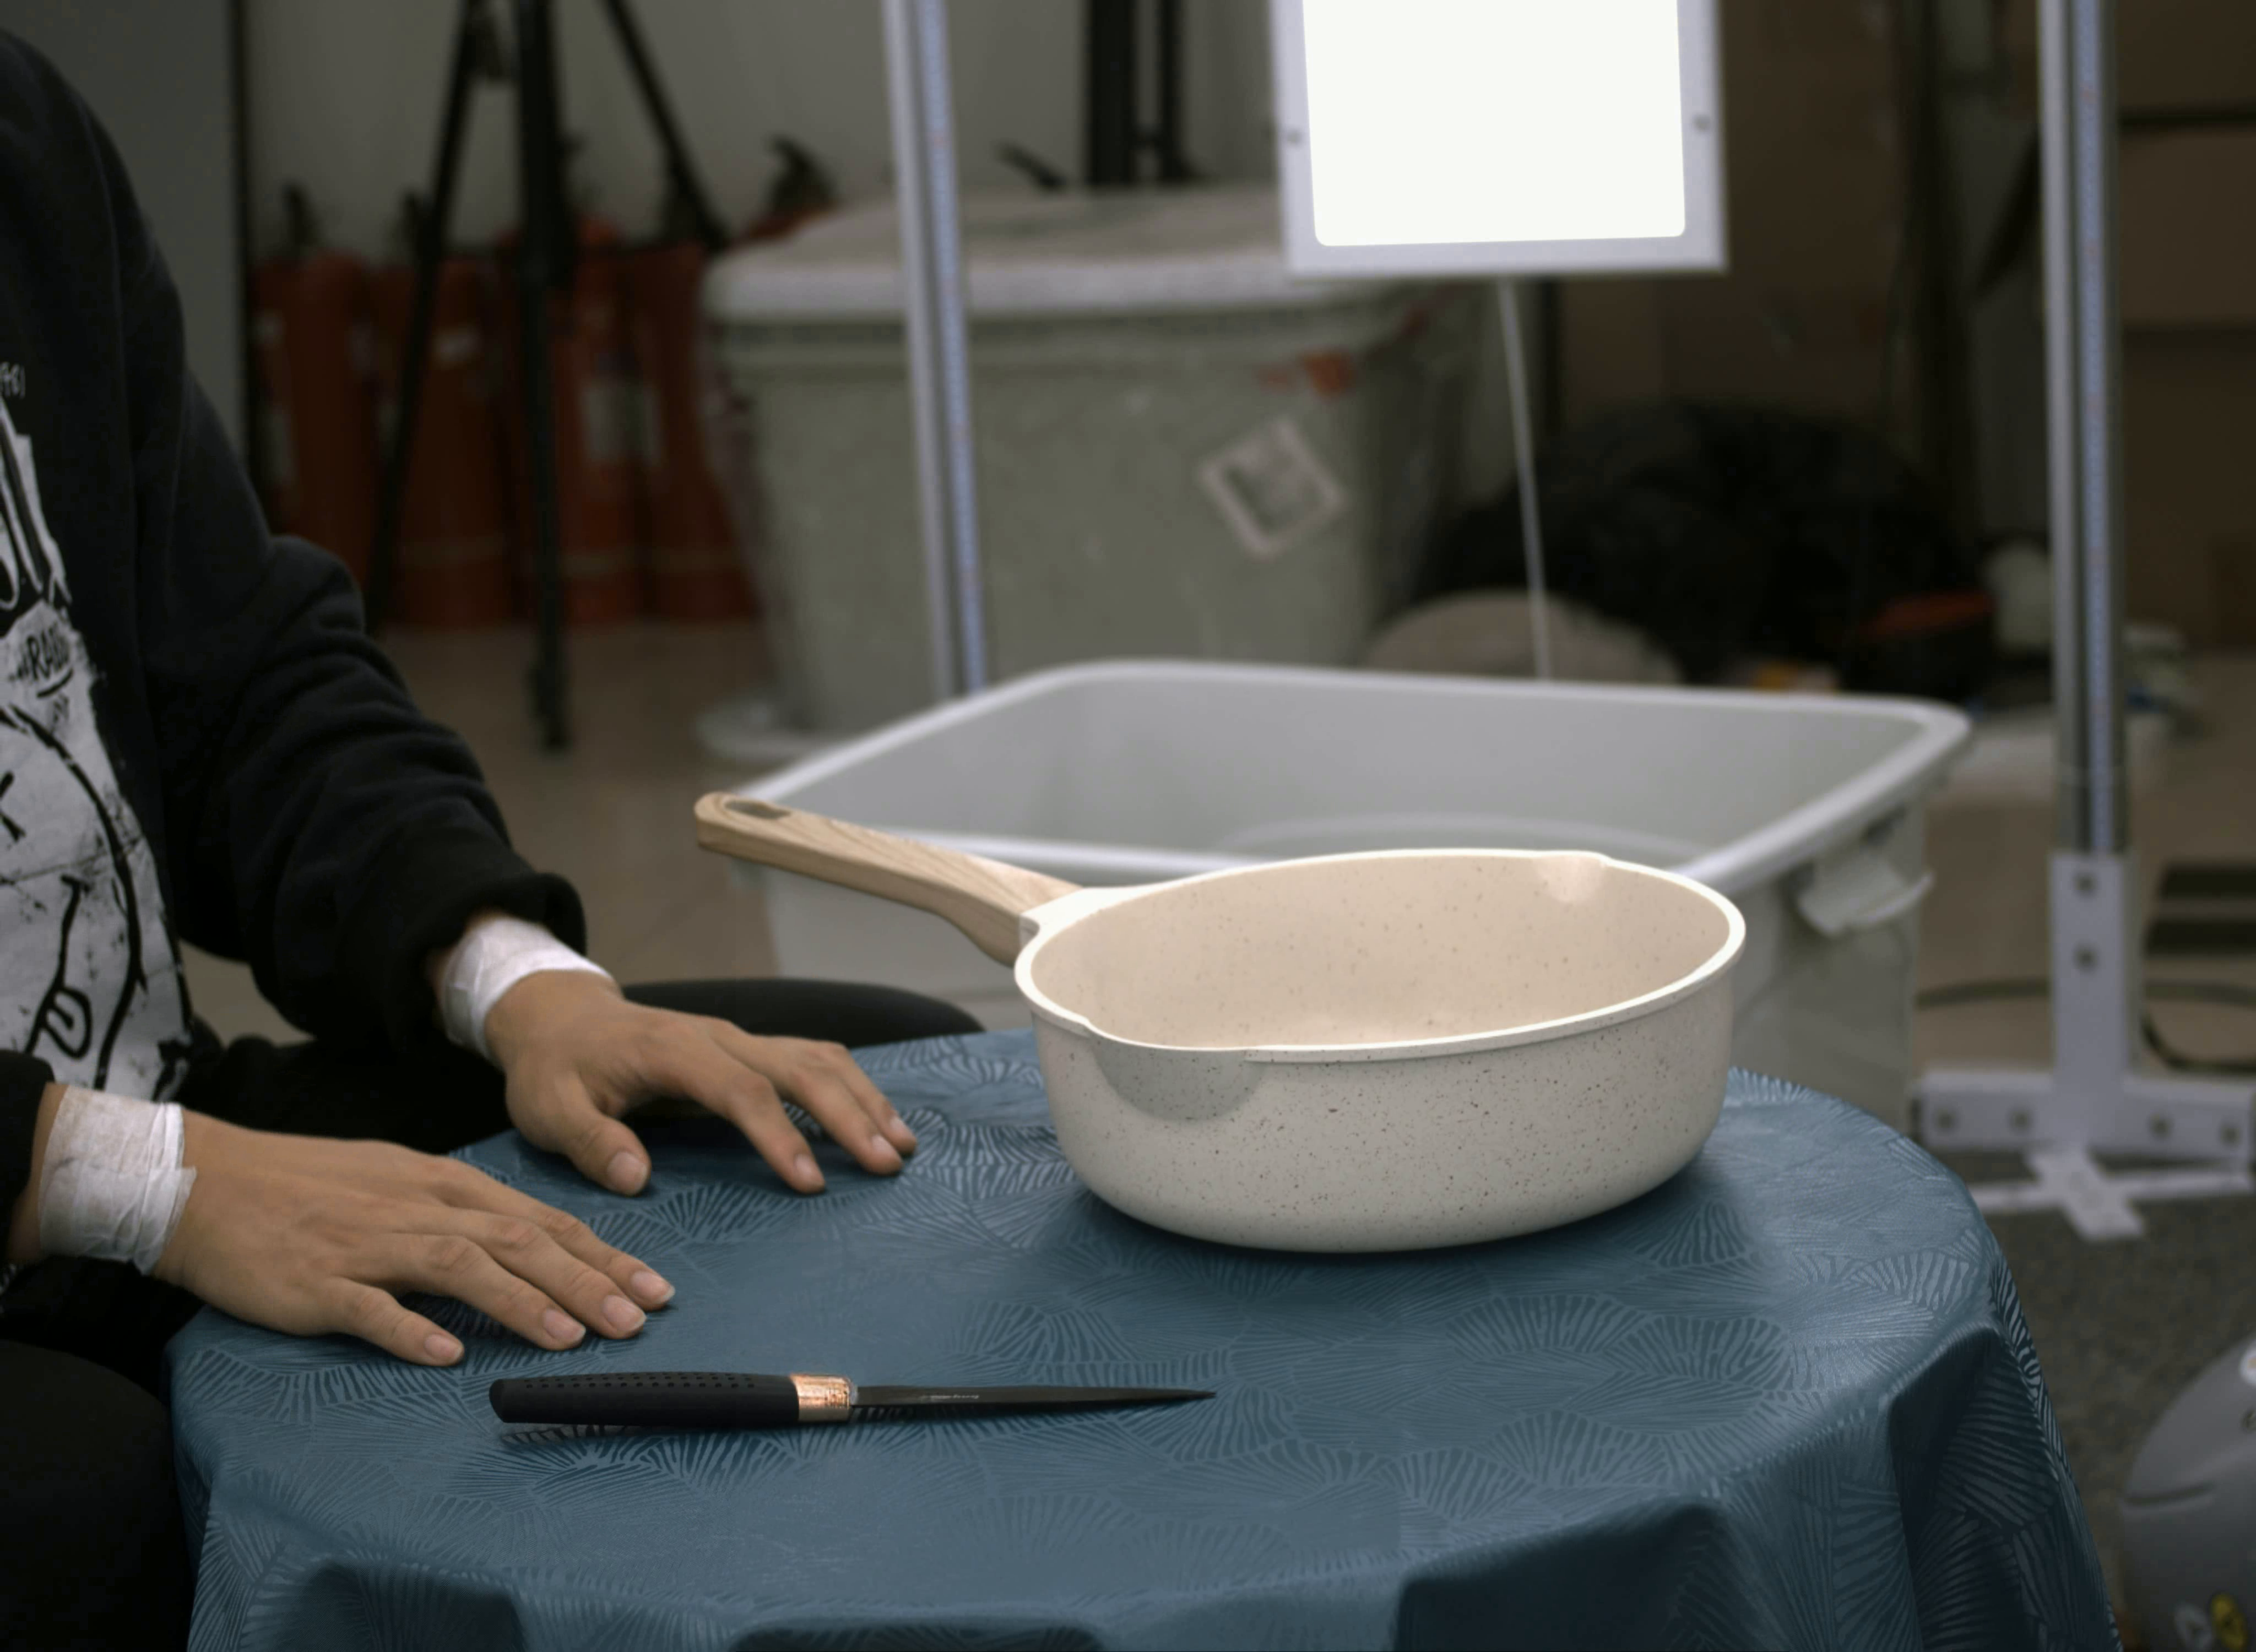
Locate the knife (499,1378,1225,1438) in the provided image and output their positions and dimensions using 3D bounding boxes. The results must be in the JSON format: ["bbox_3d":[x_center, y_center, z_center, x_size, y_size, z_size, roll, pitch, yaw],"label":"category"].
[{"bbox_3d":[-0.082,0.178,1.704,0.226,0.017,0.026,-3,-2,6],"label":"knife"}]

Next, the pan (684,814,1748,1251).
[{"bbox_3d":[0.017,0.062,1.949,0.444,0.102,0.257,6,19,38],"label":"pan"}]
